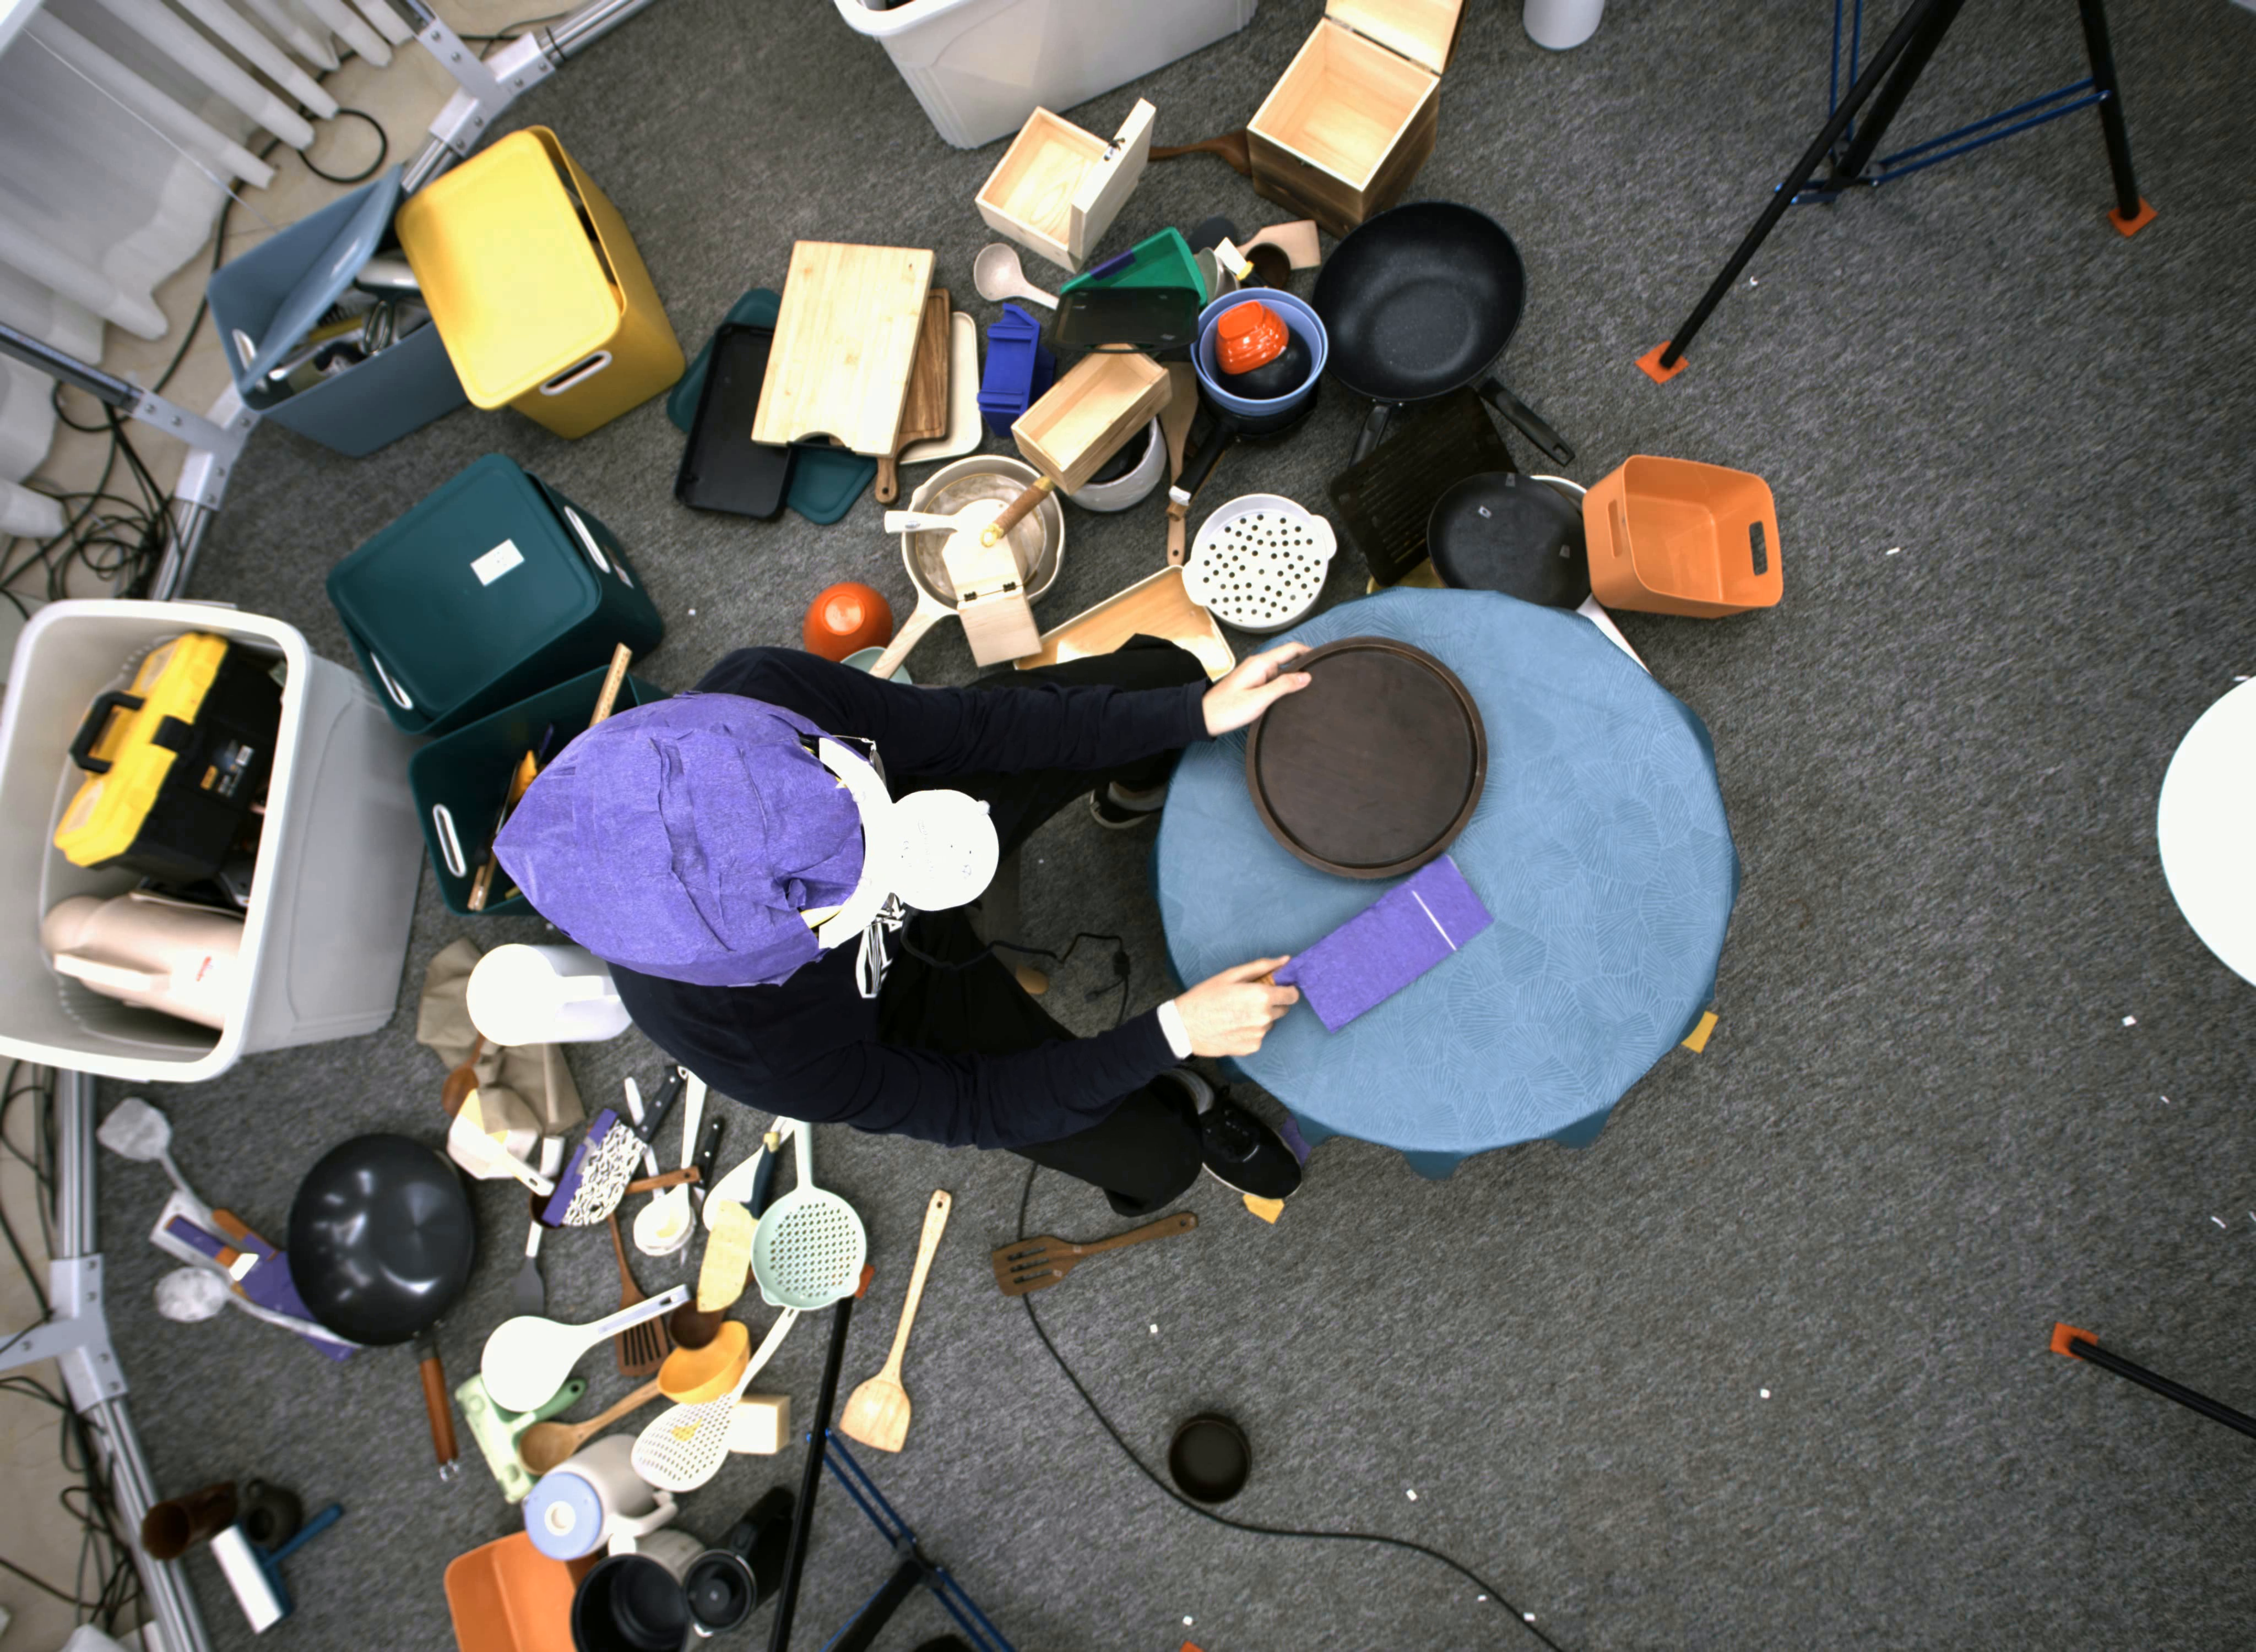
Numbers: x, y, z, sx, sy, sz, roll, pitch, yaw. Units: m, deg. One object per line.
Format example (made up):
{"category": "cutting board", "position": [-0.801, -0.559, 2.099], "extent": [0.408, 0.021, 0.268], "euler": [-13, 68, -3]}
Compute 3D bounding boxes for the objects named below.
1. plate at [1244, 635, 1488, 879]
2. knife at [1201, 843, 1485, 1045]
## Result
{"category": "plate", "position": [0.247, -0.072, 1.434], "extent": [0.255, 0.029, 0.256], "euler": [0, 98, 1]}
{"category": "knife", "position": [0.227, 0.148, 1.434], "extent": [0.316, 0.032, 0.104], "euler": [-36, 95, 4]}
